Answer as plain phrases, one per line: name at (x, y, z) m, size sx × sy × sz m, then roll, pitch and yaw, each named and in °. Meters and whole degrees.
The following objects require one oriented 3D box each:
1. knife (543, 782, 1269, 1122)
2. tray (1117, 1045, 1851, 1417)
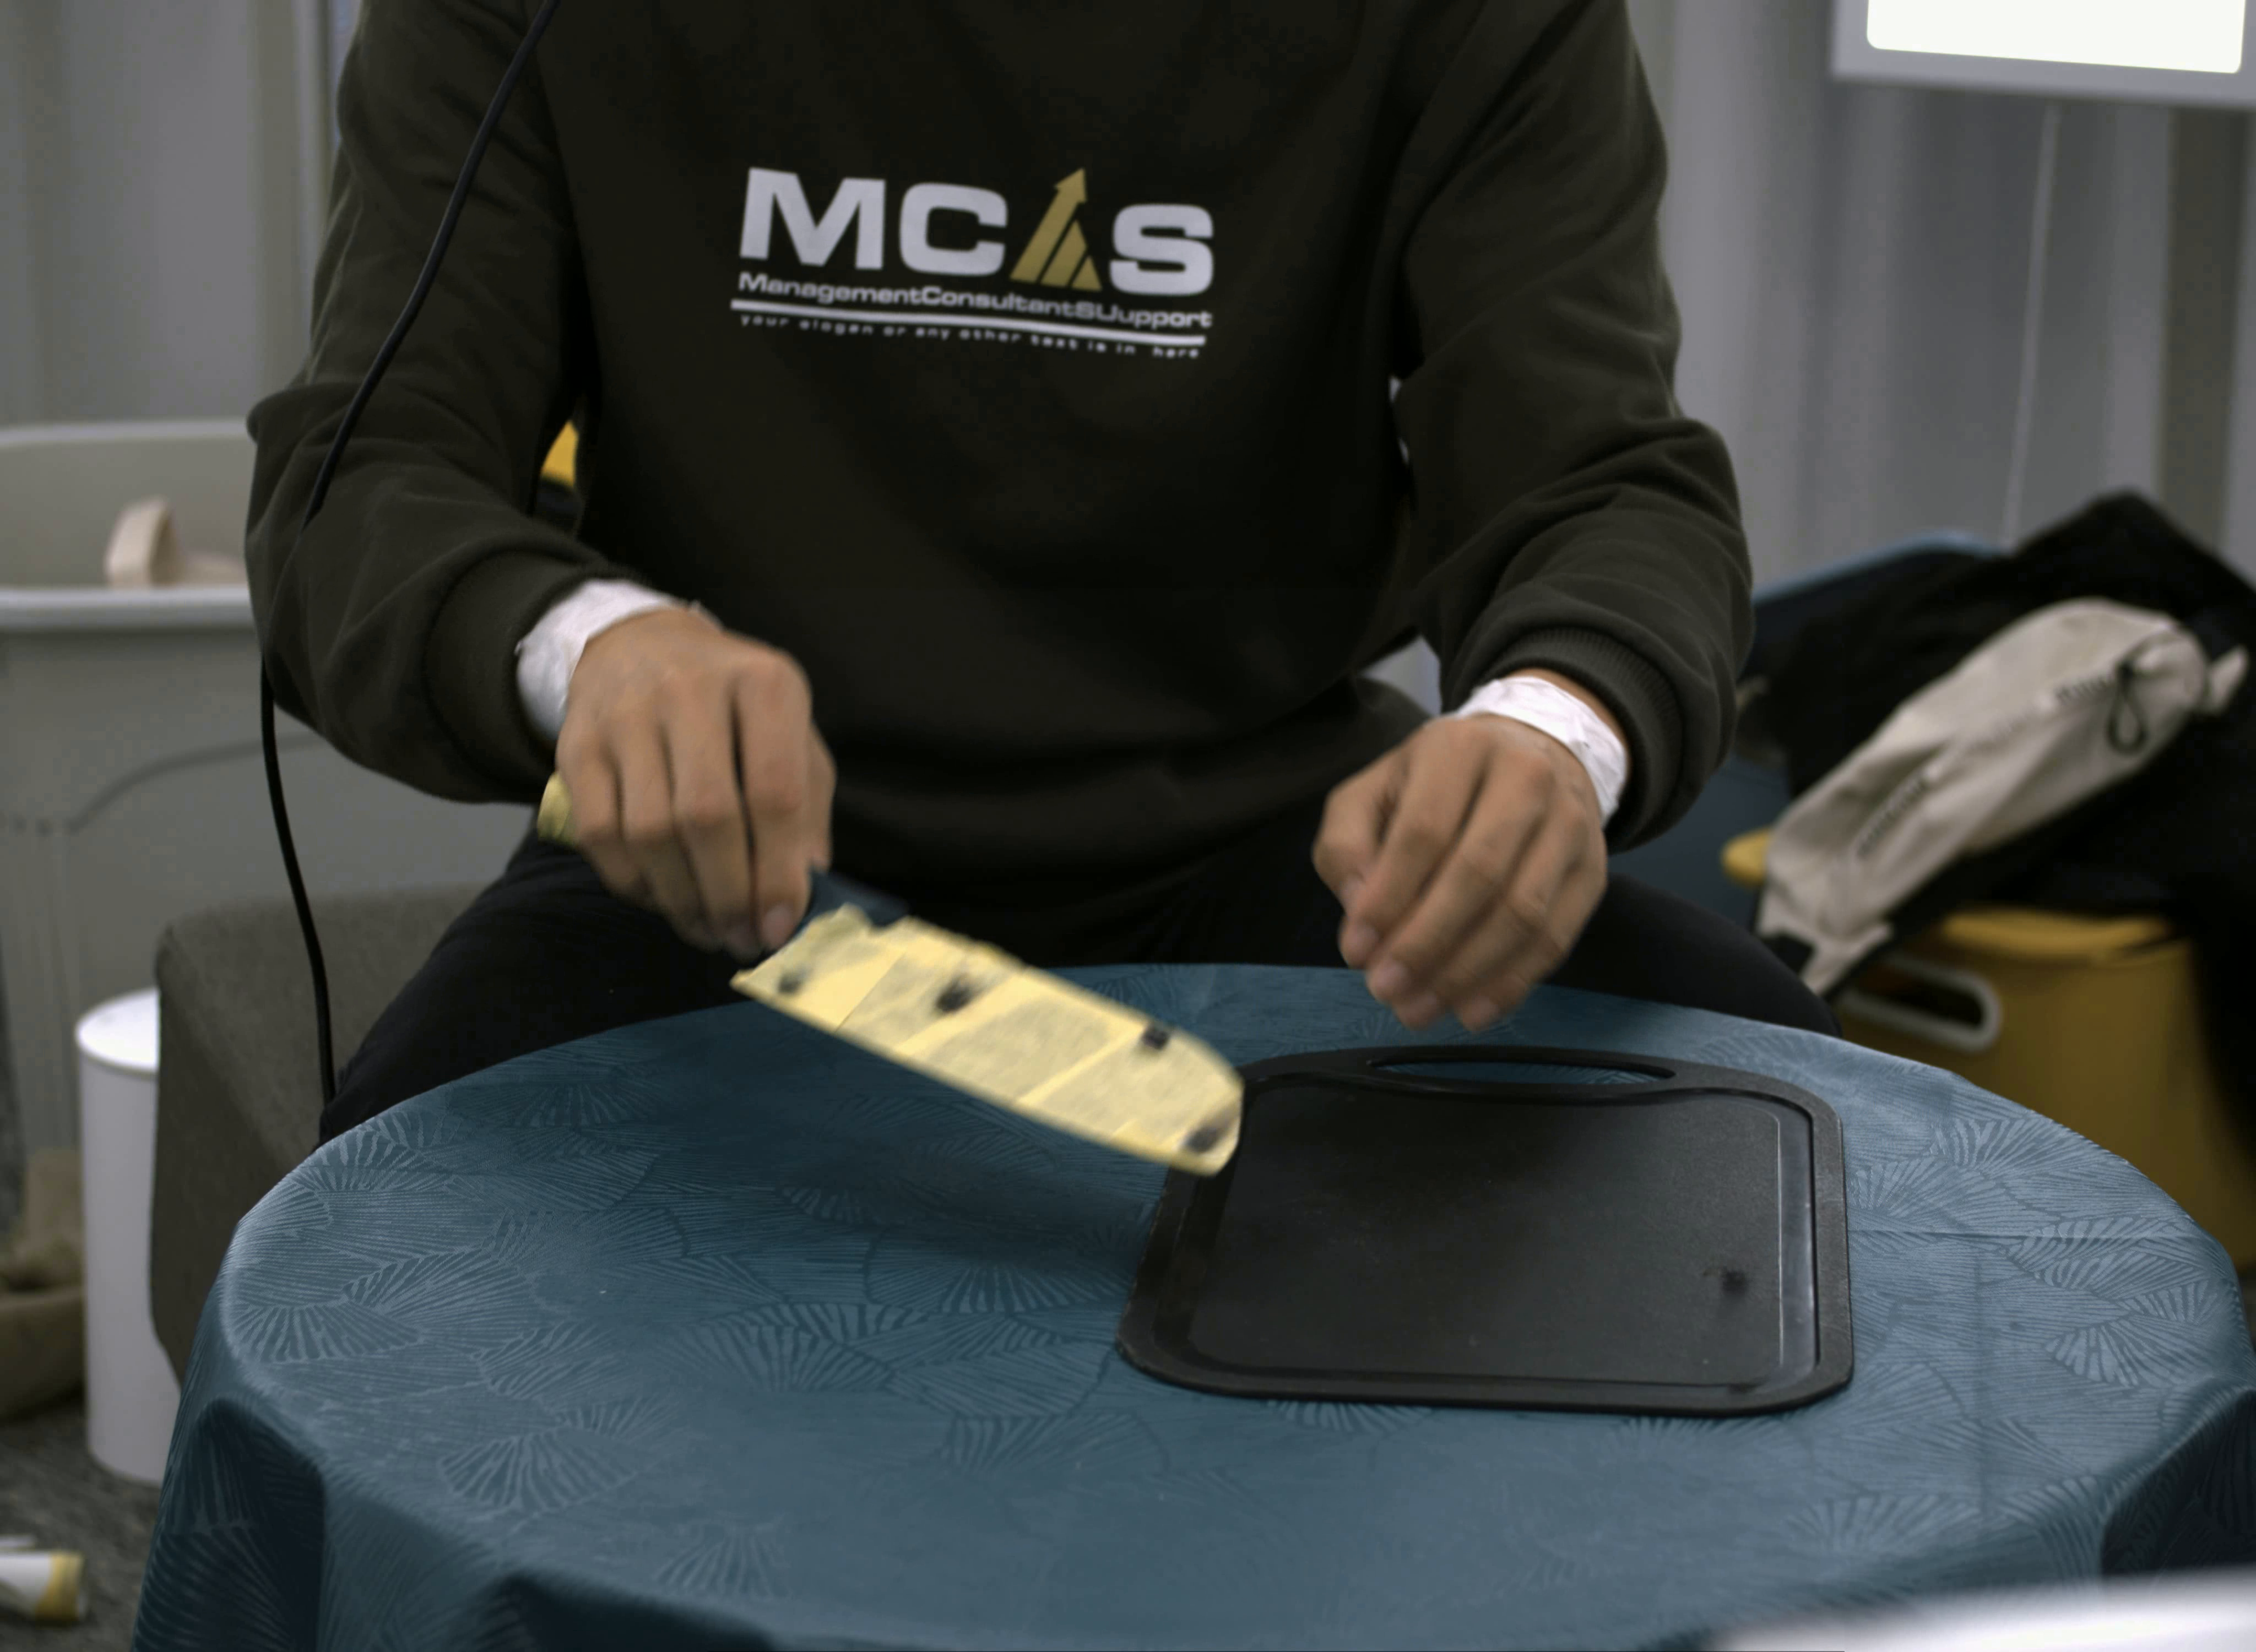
knife at (-0.076, 0.040, 1.616) m, size 0.286 × 0.027 × 0.081 m, roll 21°, pitch 28°, yaw 30°
tray at (0.114, 0.115, 1.605) m, size 0.210 × 0.010 × 0.324 m, roll 2°, pitch 15°, yaw 6°
